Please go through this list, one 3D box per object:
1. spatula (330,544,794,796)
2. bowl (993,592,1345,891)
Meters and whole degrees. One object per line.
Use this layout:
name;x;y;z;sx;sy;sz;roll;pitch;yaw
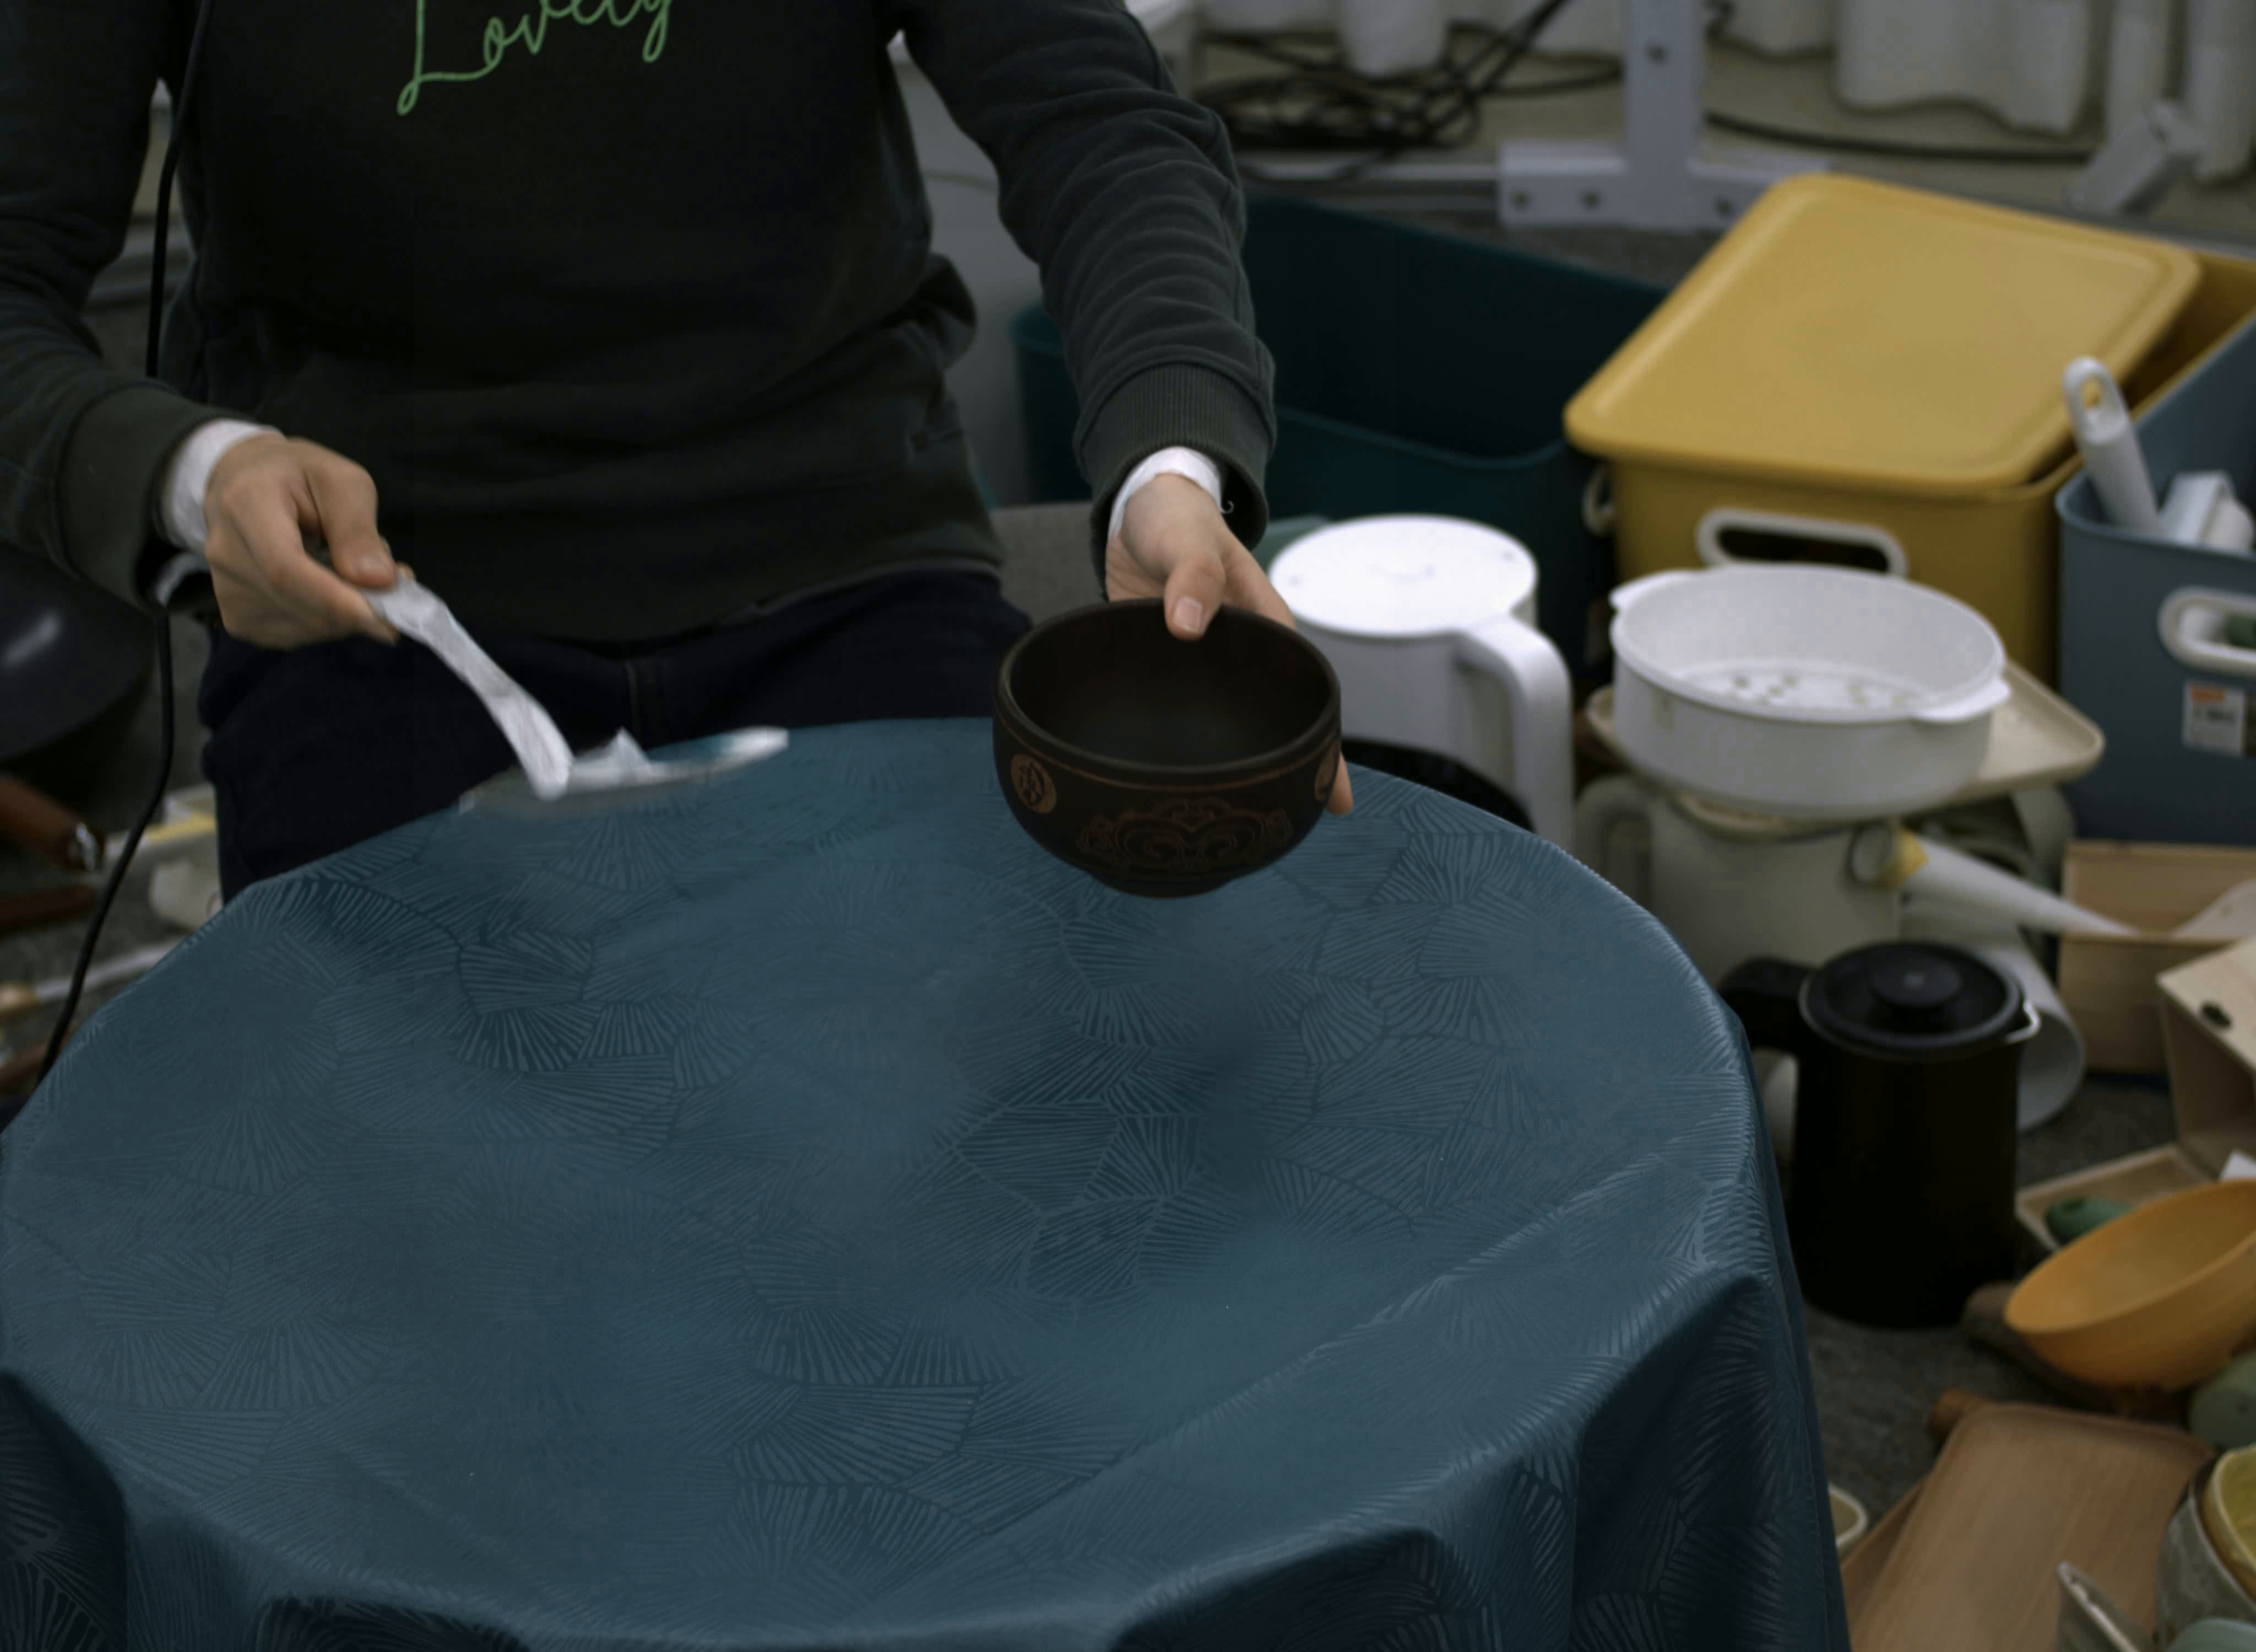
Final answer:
spatula;-0.211;-0.061;1.862;0.099;0.044;0.366;-10;21;-22
bowl;0.013;-0.022;1.887;0.117;0.069;0.120;3;29;-1
